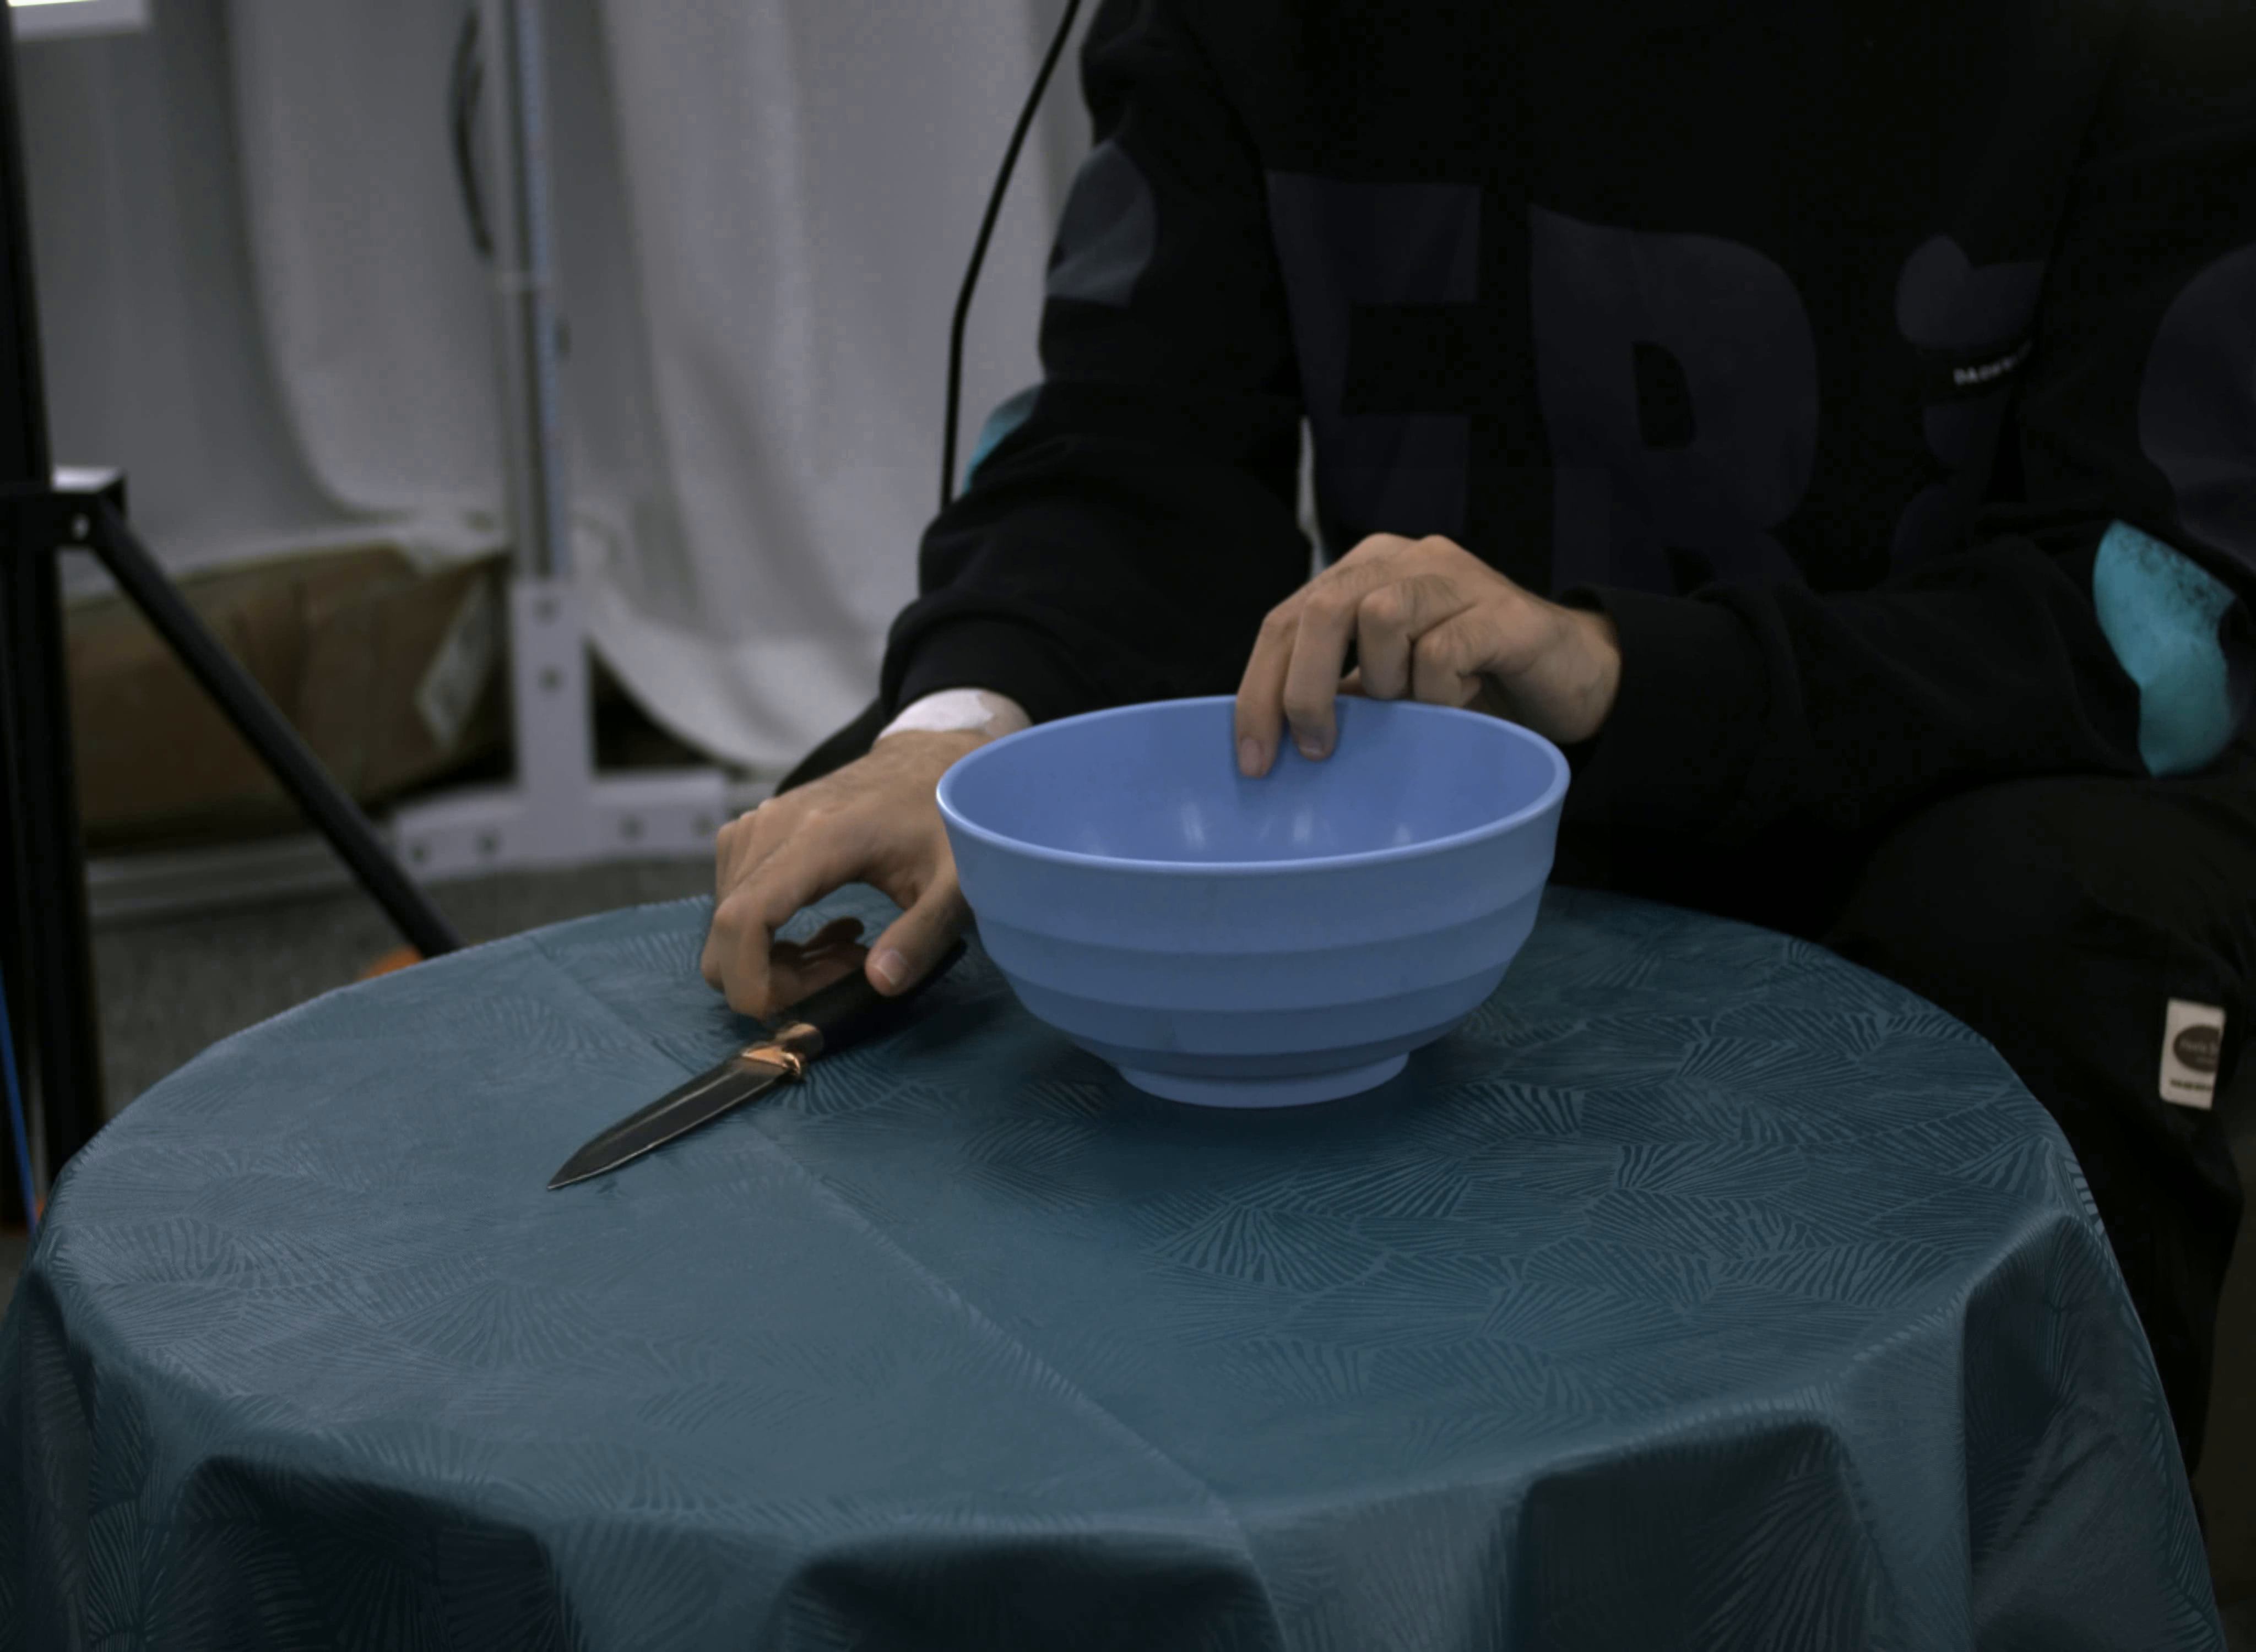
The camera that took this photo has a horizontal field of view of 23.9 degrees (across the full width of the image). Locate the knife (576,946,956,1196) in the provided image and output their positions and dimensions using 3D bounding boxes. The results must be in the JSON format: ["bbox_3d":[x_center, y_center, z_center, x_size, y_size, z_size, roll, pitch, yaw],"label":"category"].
[{"bbox_3d":[-0.114,0.076,1.670,0.026,0.017,0.222,12,22,26],"label":"knife"}]

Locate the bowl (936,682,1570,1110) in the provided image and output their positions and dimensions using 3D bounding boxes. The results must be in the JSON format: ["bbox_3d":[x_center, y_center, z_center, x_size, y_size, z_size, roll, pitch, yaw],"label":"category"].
[{"bbox_3d":[0.041,0.028,1.652,0.195,0.095,0.197,-4,18,0],"label":"bowl"}]
